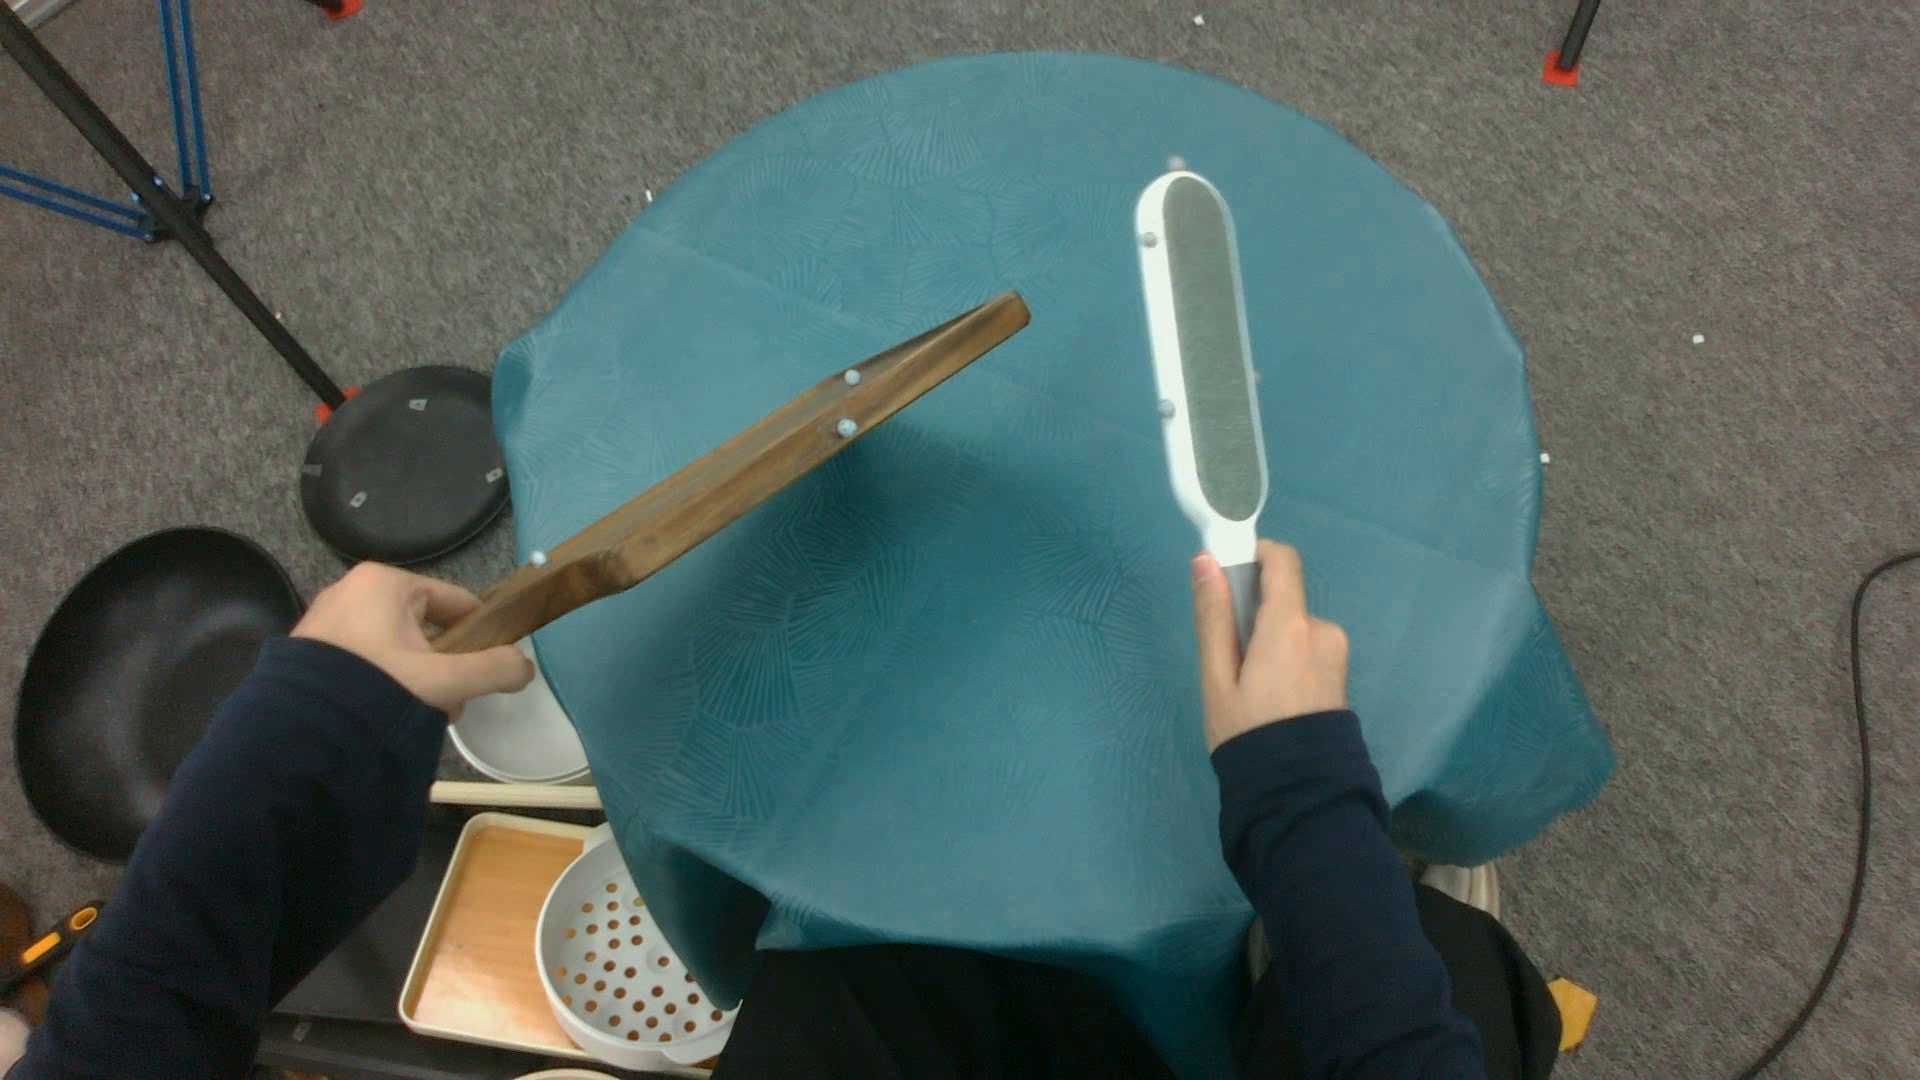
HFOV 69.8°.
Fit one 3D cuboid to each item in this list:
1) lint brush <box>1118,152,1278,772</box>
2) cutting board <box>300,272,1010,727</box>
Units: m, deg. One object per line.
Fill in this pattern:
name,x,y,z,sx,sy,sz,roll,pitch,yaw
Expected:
lint brush,0.118,-0.042,0.670,0.060,0.021,0.309,-1,80,-44
cutting board,-0.147,-0.023,0.655,0.354,0.200,0.023,-39,106,-33
